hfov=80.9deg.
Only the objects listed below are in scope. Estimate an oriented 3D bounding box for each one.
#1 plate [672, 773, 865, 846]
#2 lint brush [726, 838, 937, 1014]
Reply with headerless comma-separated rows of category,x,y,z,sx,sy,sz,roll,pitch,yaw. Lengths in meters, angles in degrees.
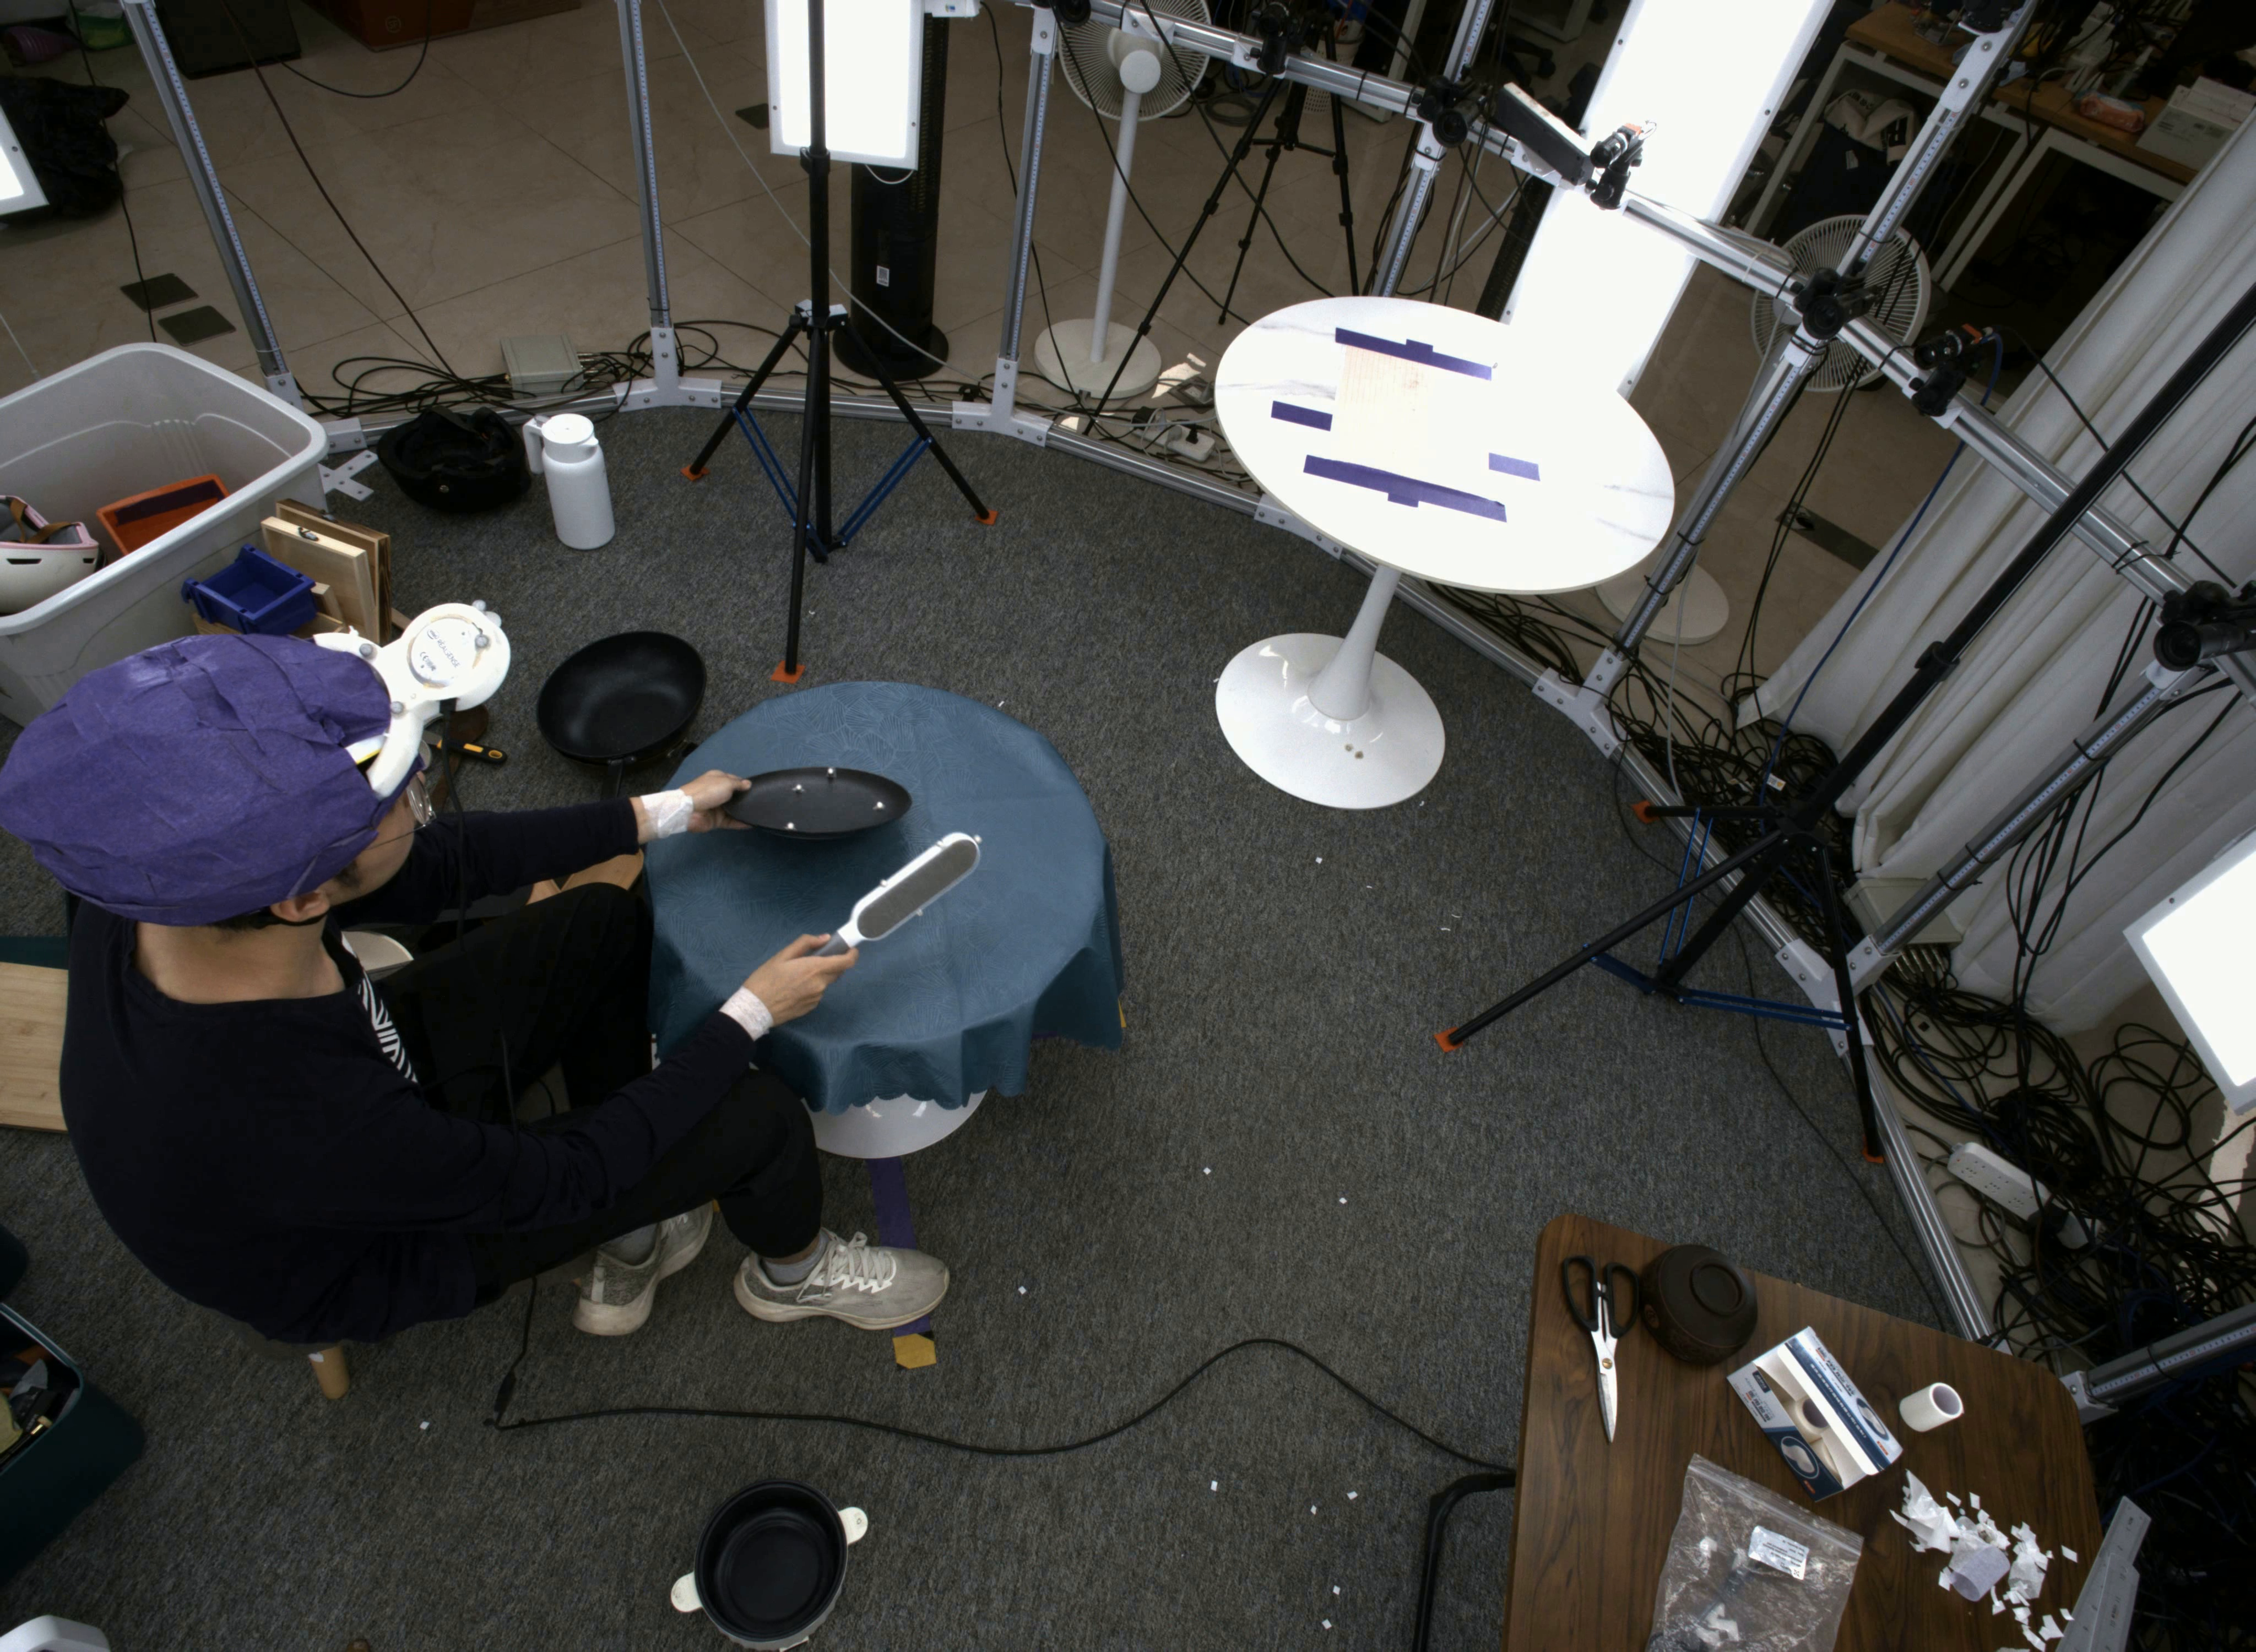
plate,-0.462,-0.020,1.667,0.242,0.024,0.240,5,21,-1
lint brush,-0.352,0.116,1.548,0.309,0.062,0.020,-40,46,-17
